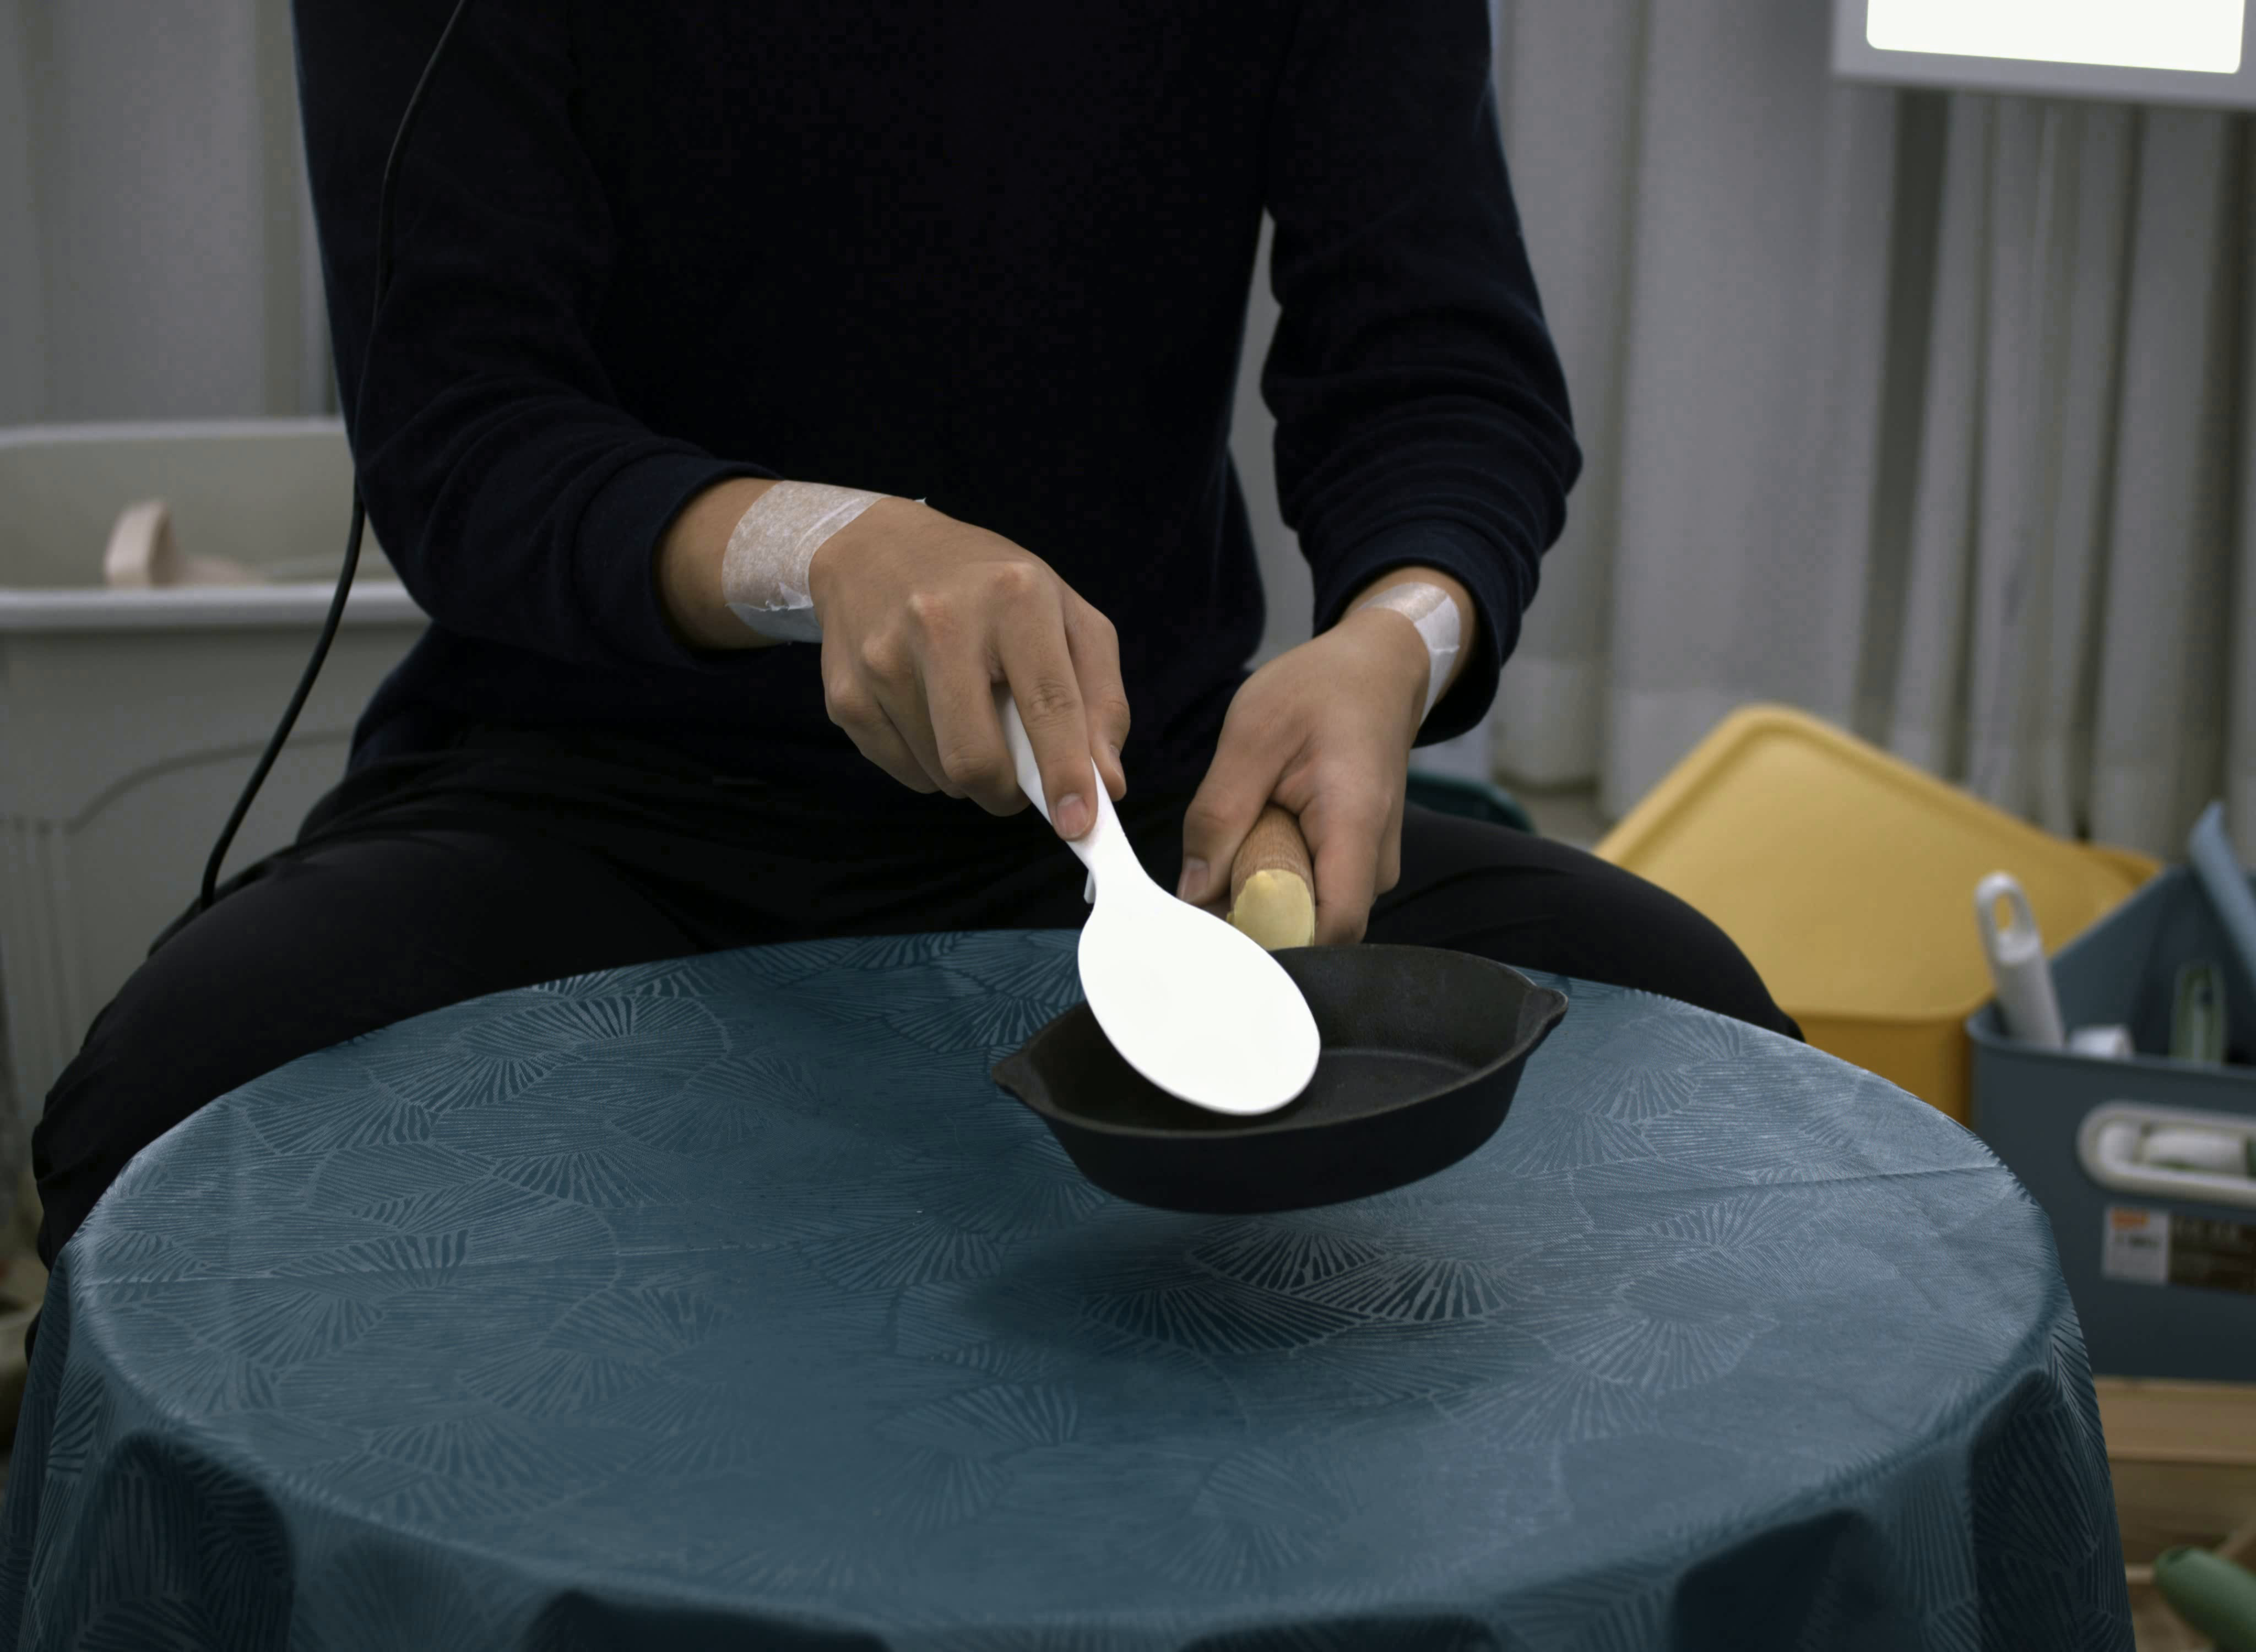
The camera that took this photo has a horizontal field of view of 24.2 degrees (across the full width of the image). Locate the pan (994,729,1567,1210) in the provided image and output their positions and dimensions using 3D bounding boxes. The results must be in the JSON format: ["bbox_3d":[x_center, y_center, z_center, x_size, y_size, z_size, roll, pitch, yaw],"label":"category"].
[{"bbox_3d":[0.048,0.040,1.618,0.168,0.050,0.322,-5,19,4],"label":"pan"}]

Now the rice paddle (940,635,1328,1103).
[{"bbox_3d":[-0.001,0.014,1.612,0.069,0.029,0.202,-10,45,-27],"label":"rice paddle"}]
